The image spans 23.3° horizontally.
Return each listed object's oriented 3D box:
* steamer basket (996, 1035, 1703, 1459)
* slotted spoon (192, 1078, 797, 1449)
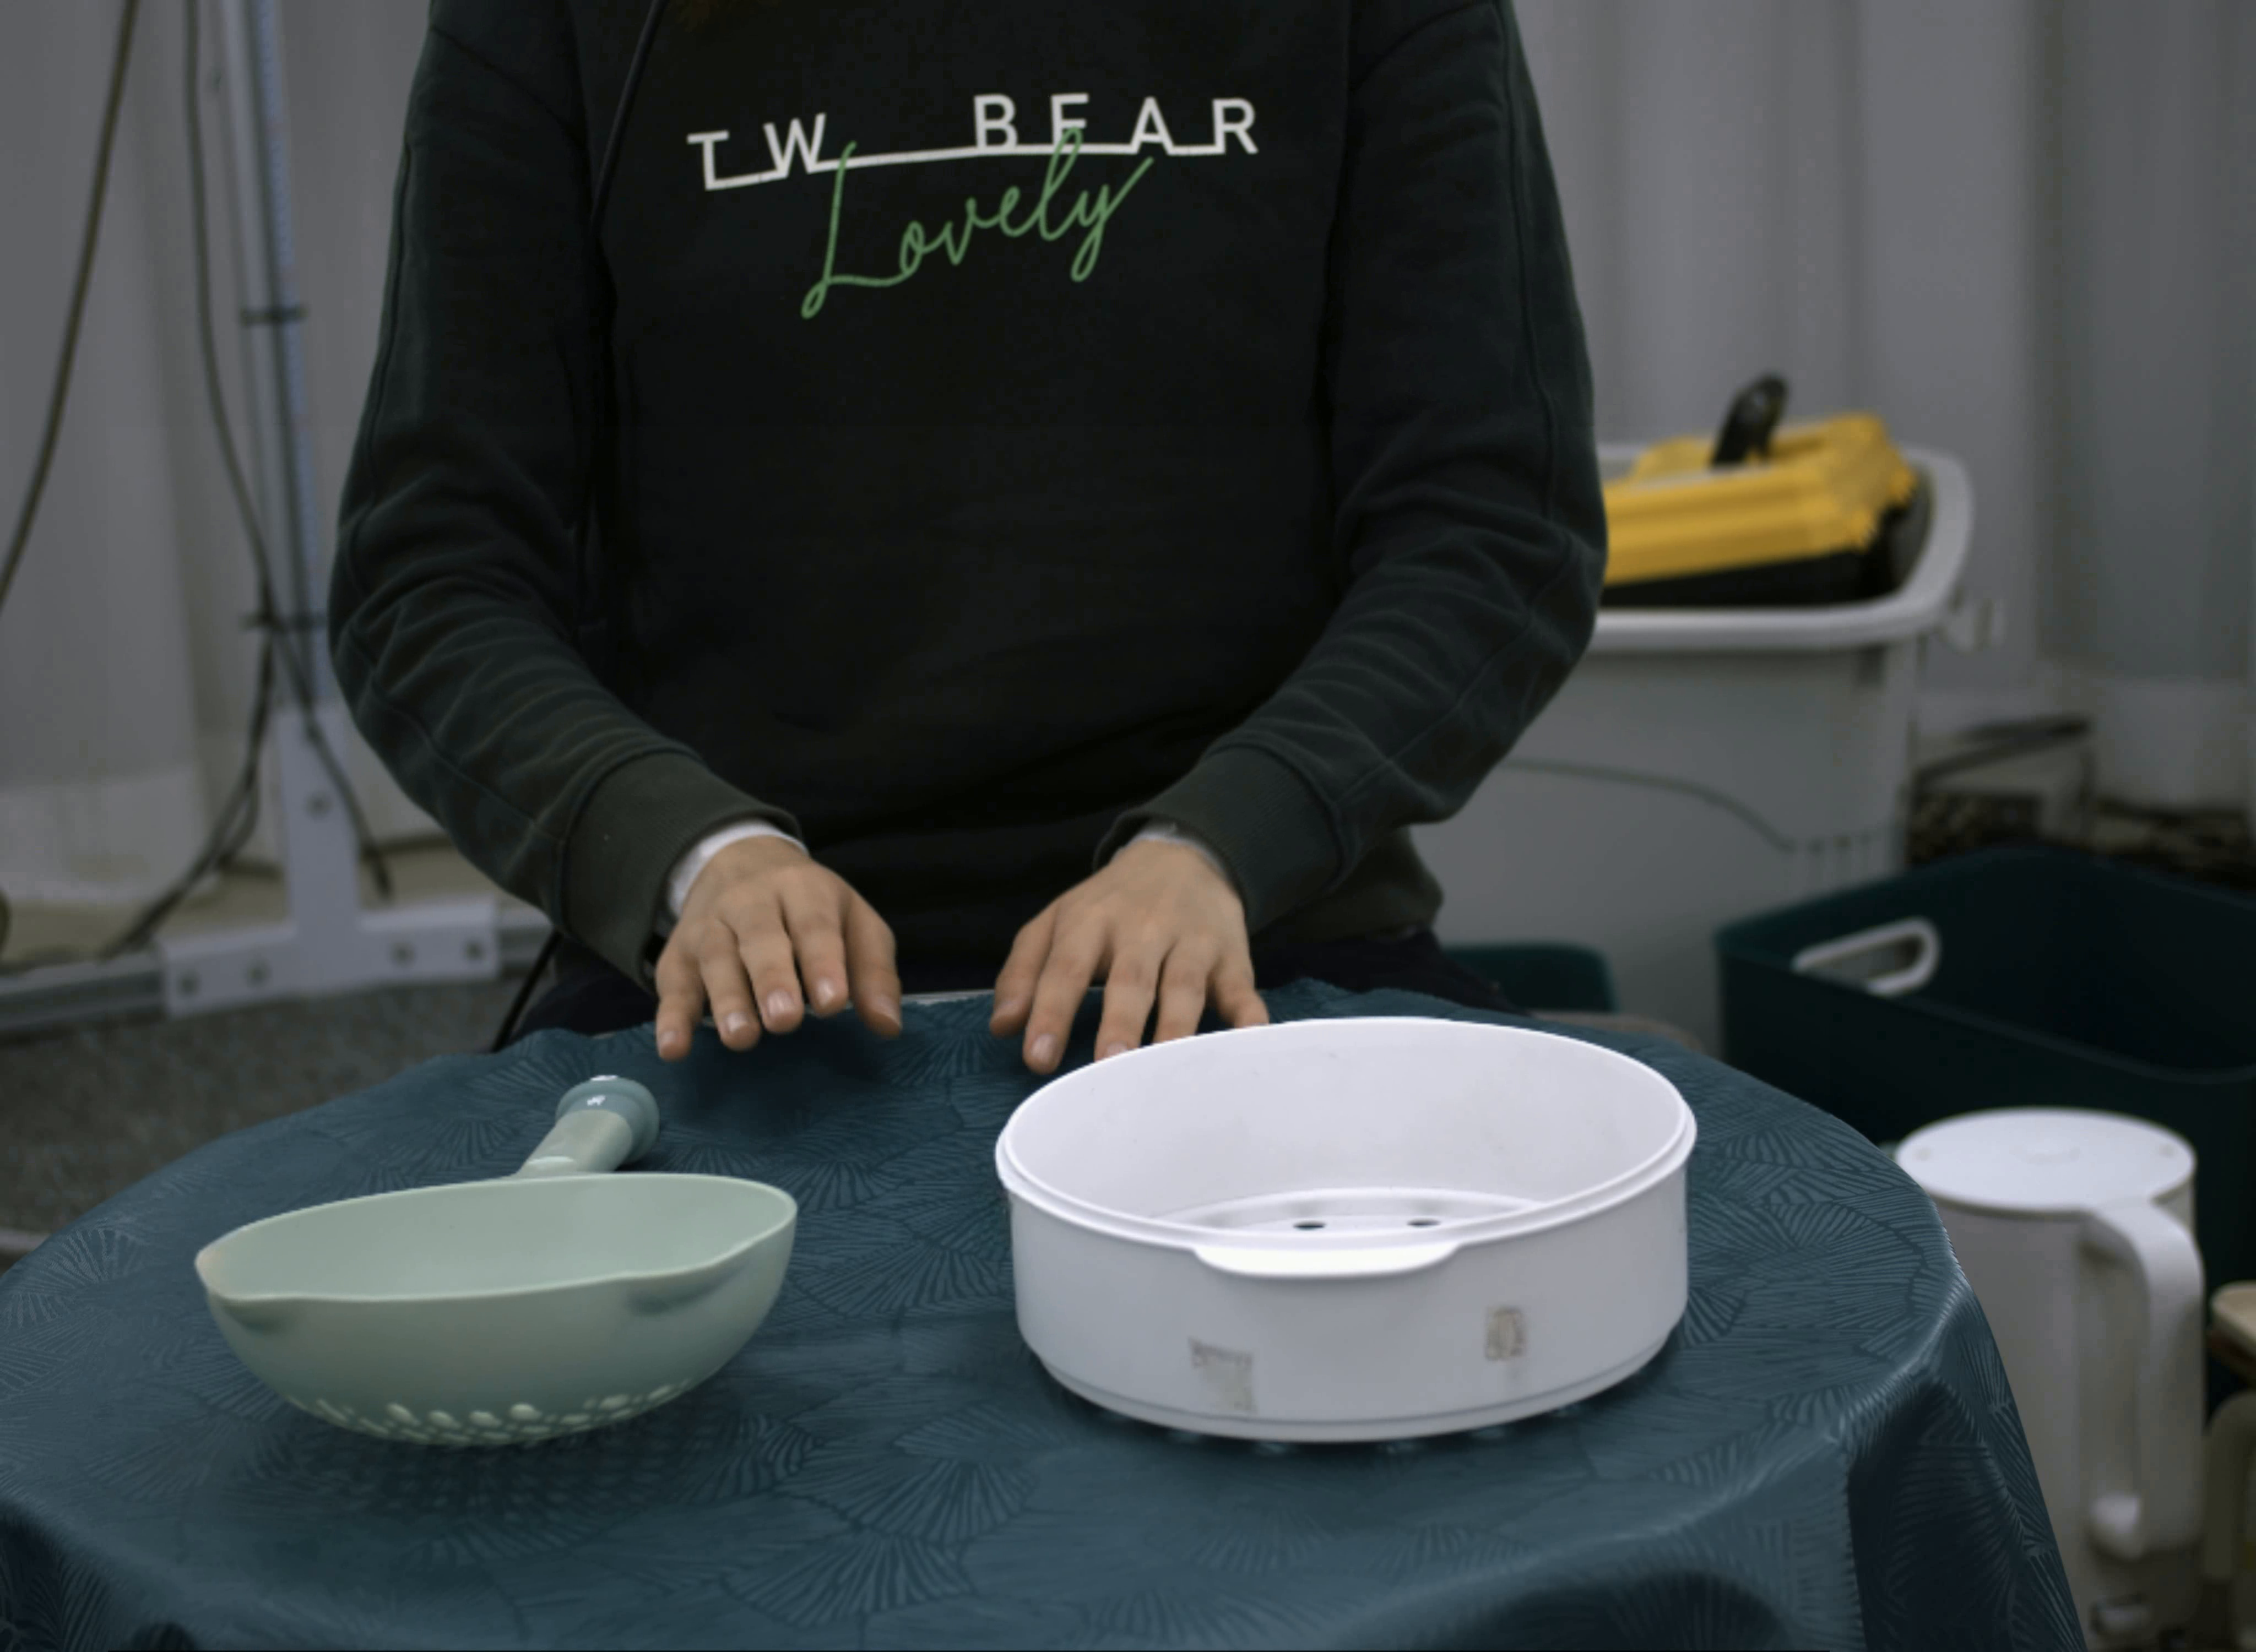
[{"bbox_3d":[0.063,0.120,1.562,0.201,0.069,0.232,-1,14,5],"label":"steamer basket"},{"bbox_3d":[-0.171,0.114,1.626,0.169,0.075,0.361,-3,15,3],"label":"slotted spoon"}]
